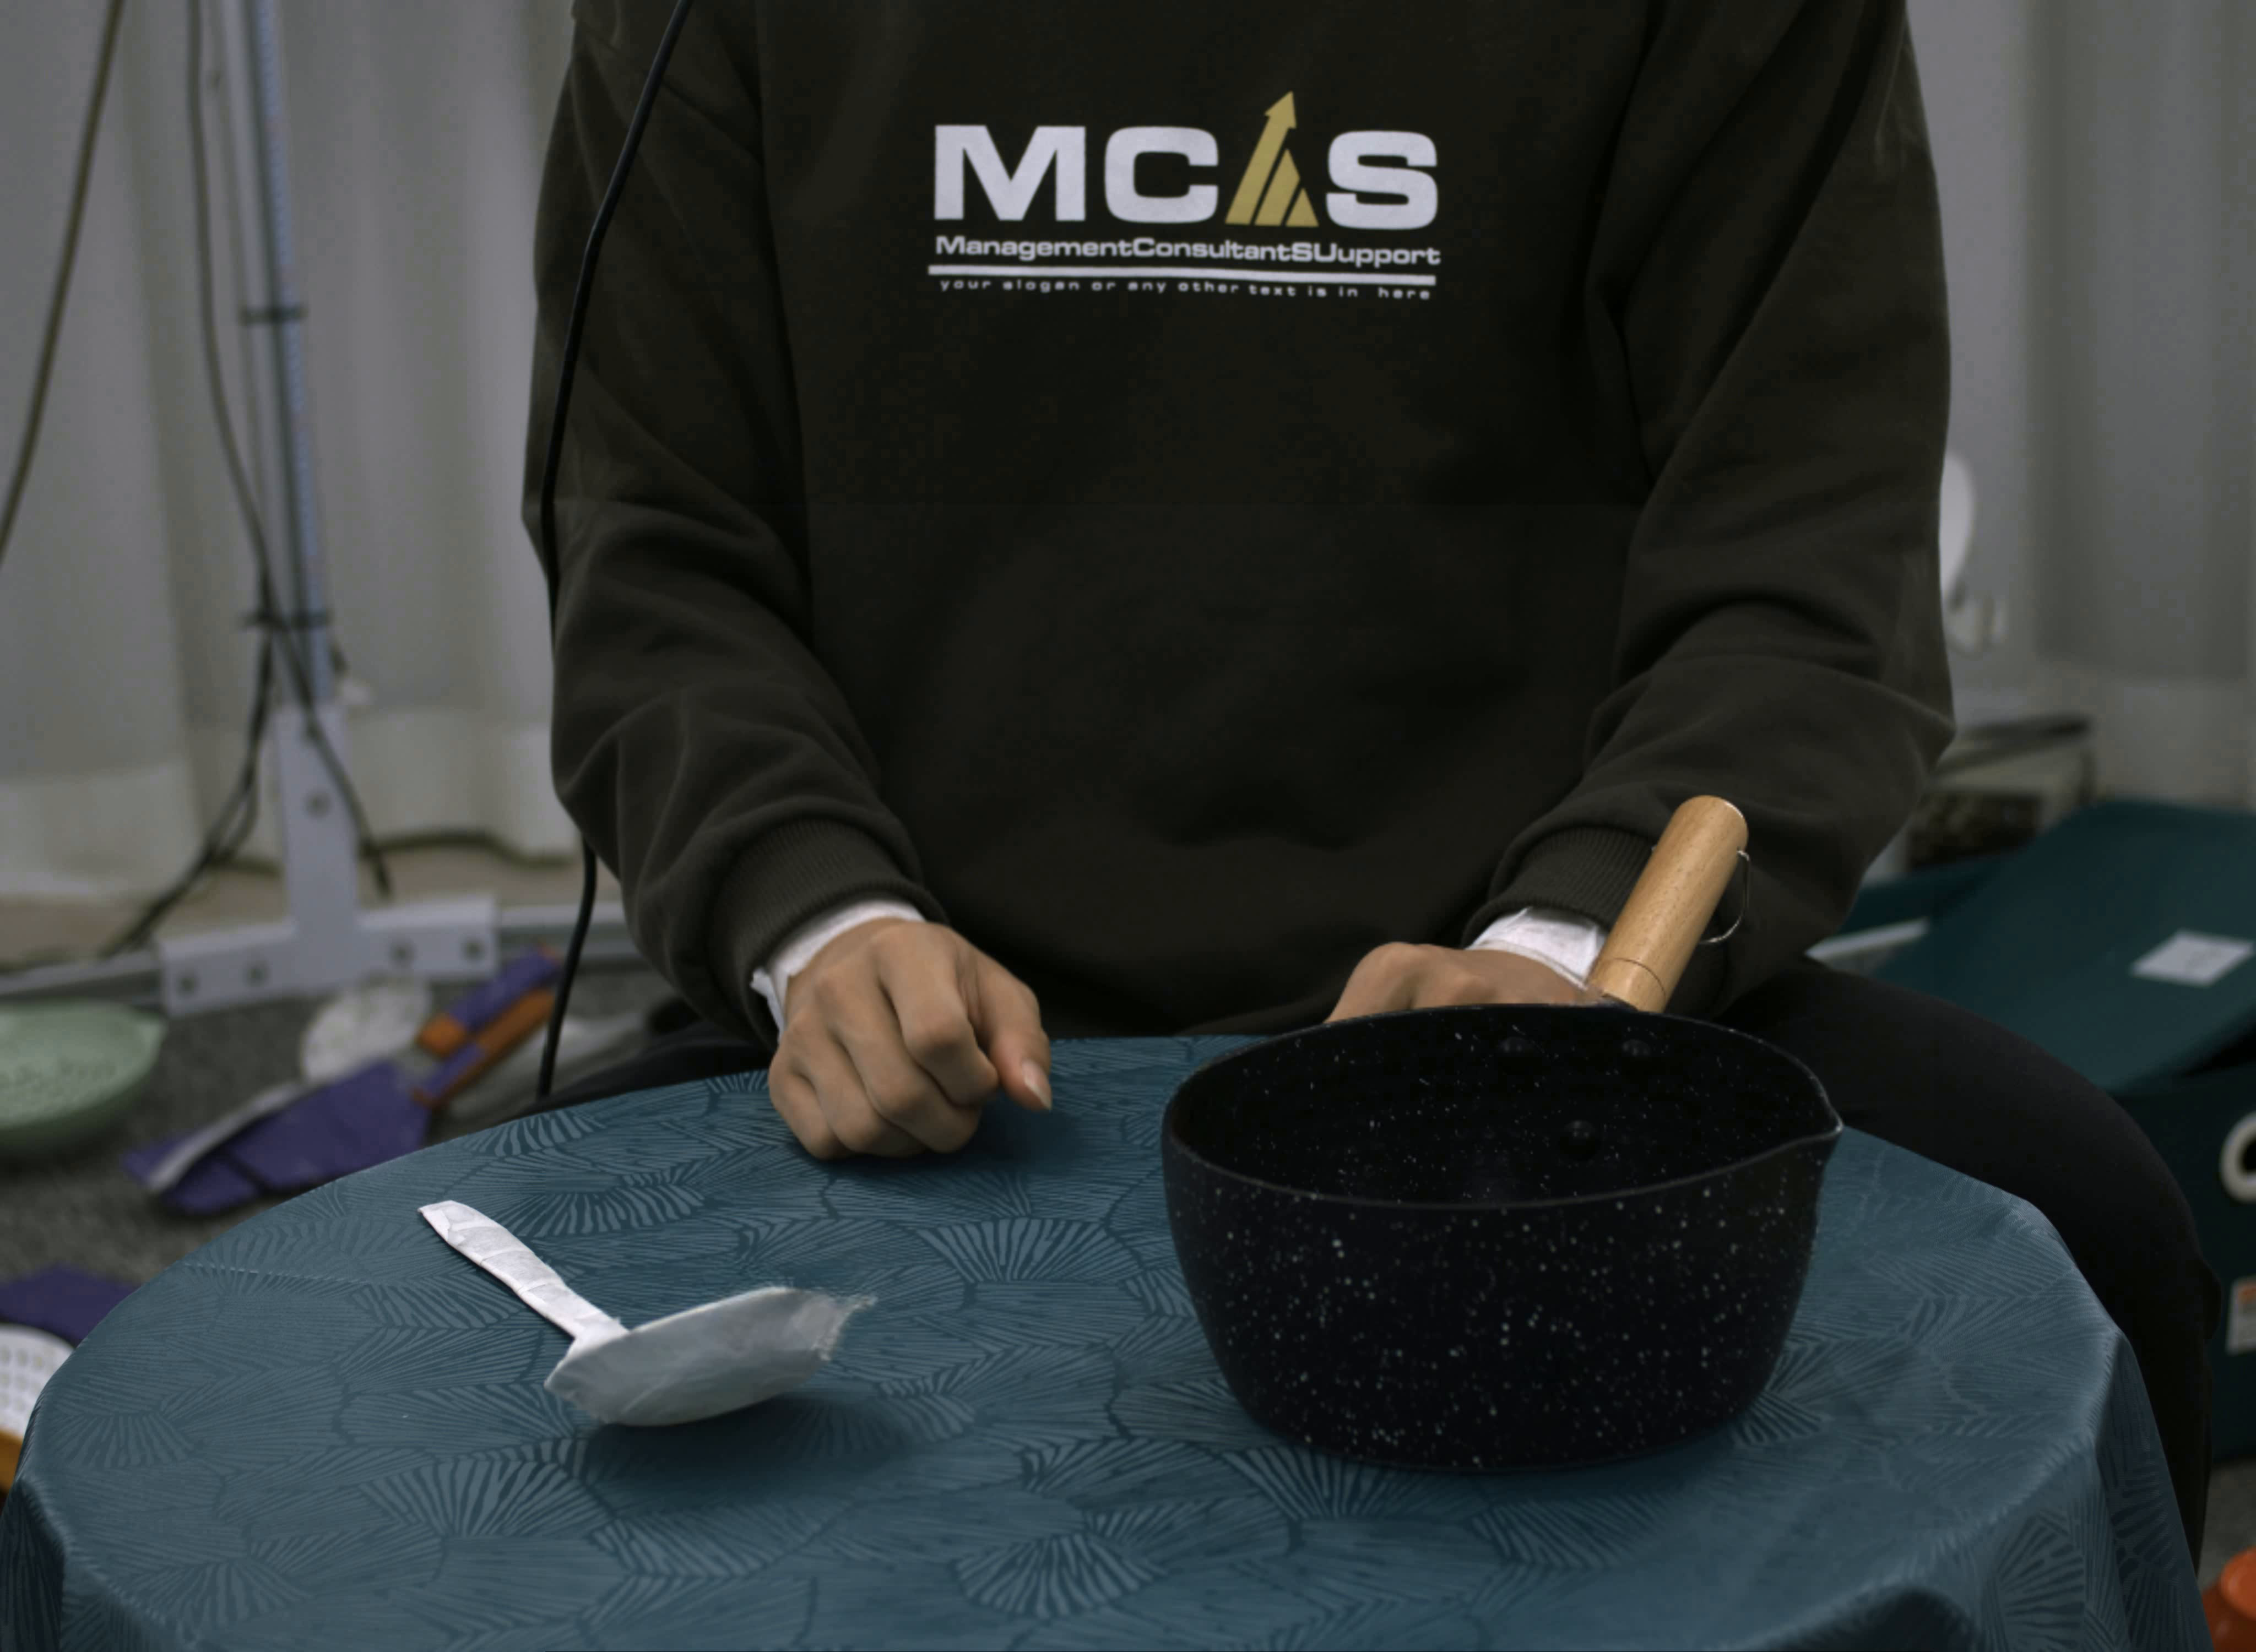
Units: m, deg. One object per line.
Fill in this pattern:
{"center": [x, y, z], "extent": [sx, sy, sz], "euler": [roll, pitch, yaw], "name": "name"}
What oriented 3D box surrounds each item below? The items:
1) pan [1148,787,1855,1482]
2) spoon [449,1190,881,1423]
{"center": [0.128, 0.085, 1.599], "extent": [0.207, 0.108, 0.344], "euler": [1, 16, 20], "name": "pan"}
{"center": [-0.151, 0.122, 1.608], "extent": [0.100, 0.059, 0.279], "euler": [-4, 14, -22], "name": "spoon"}
